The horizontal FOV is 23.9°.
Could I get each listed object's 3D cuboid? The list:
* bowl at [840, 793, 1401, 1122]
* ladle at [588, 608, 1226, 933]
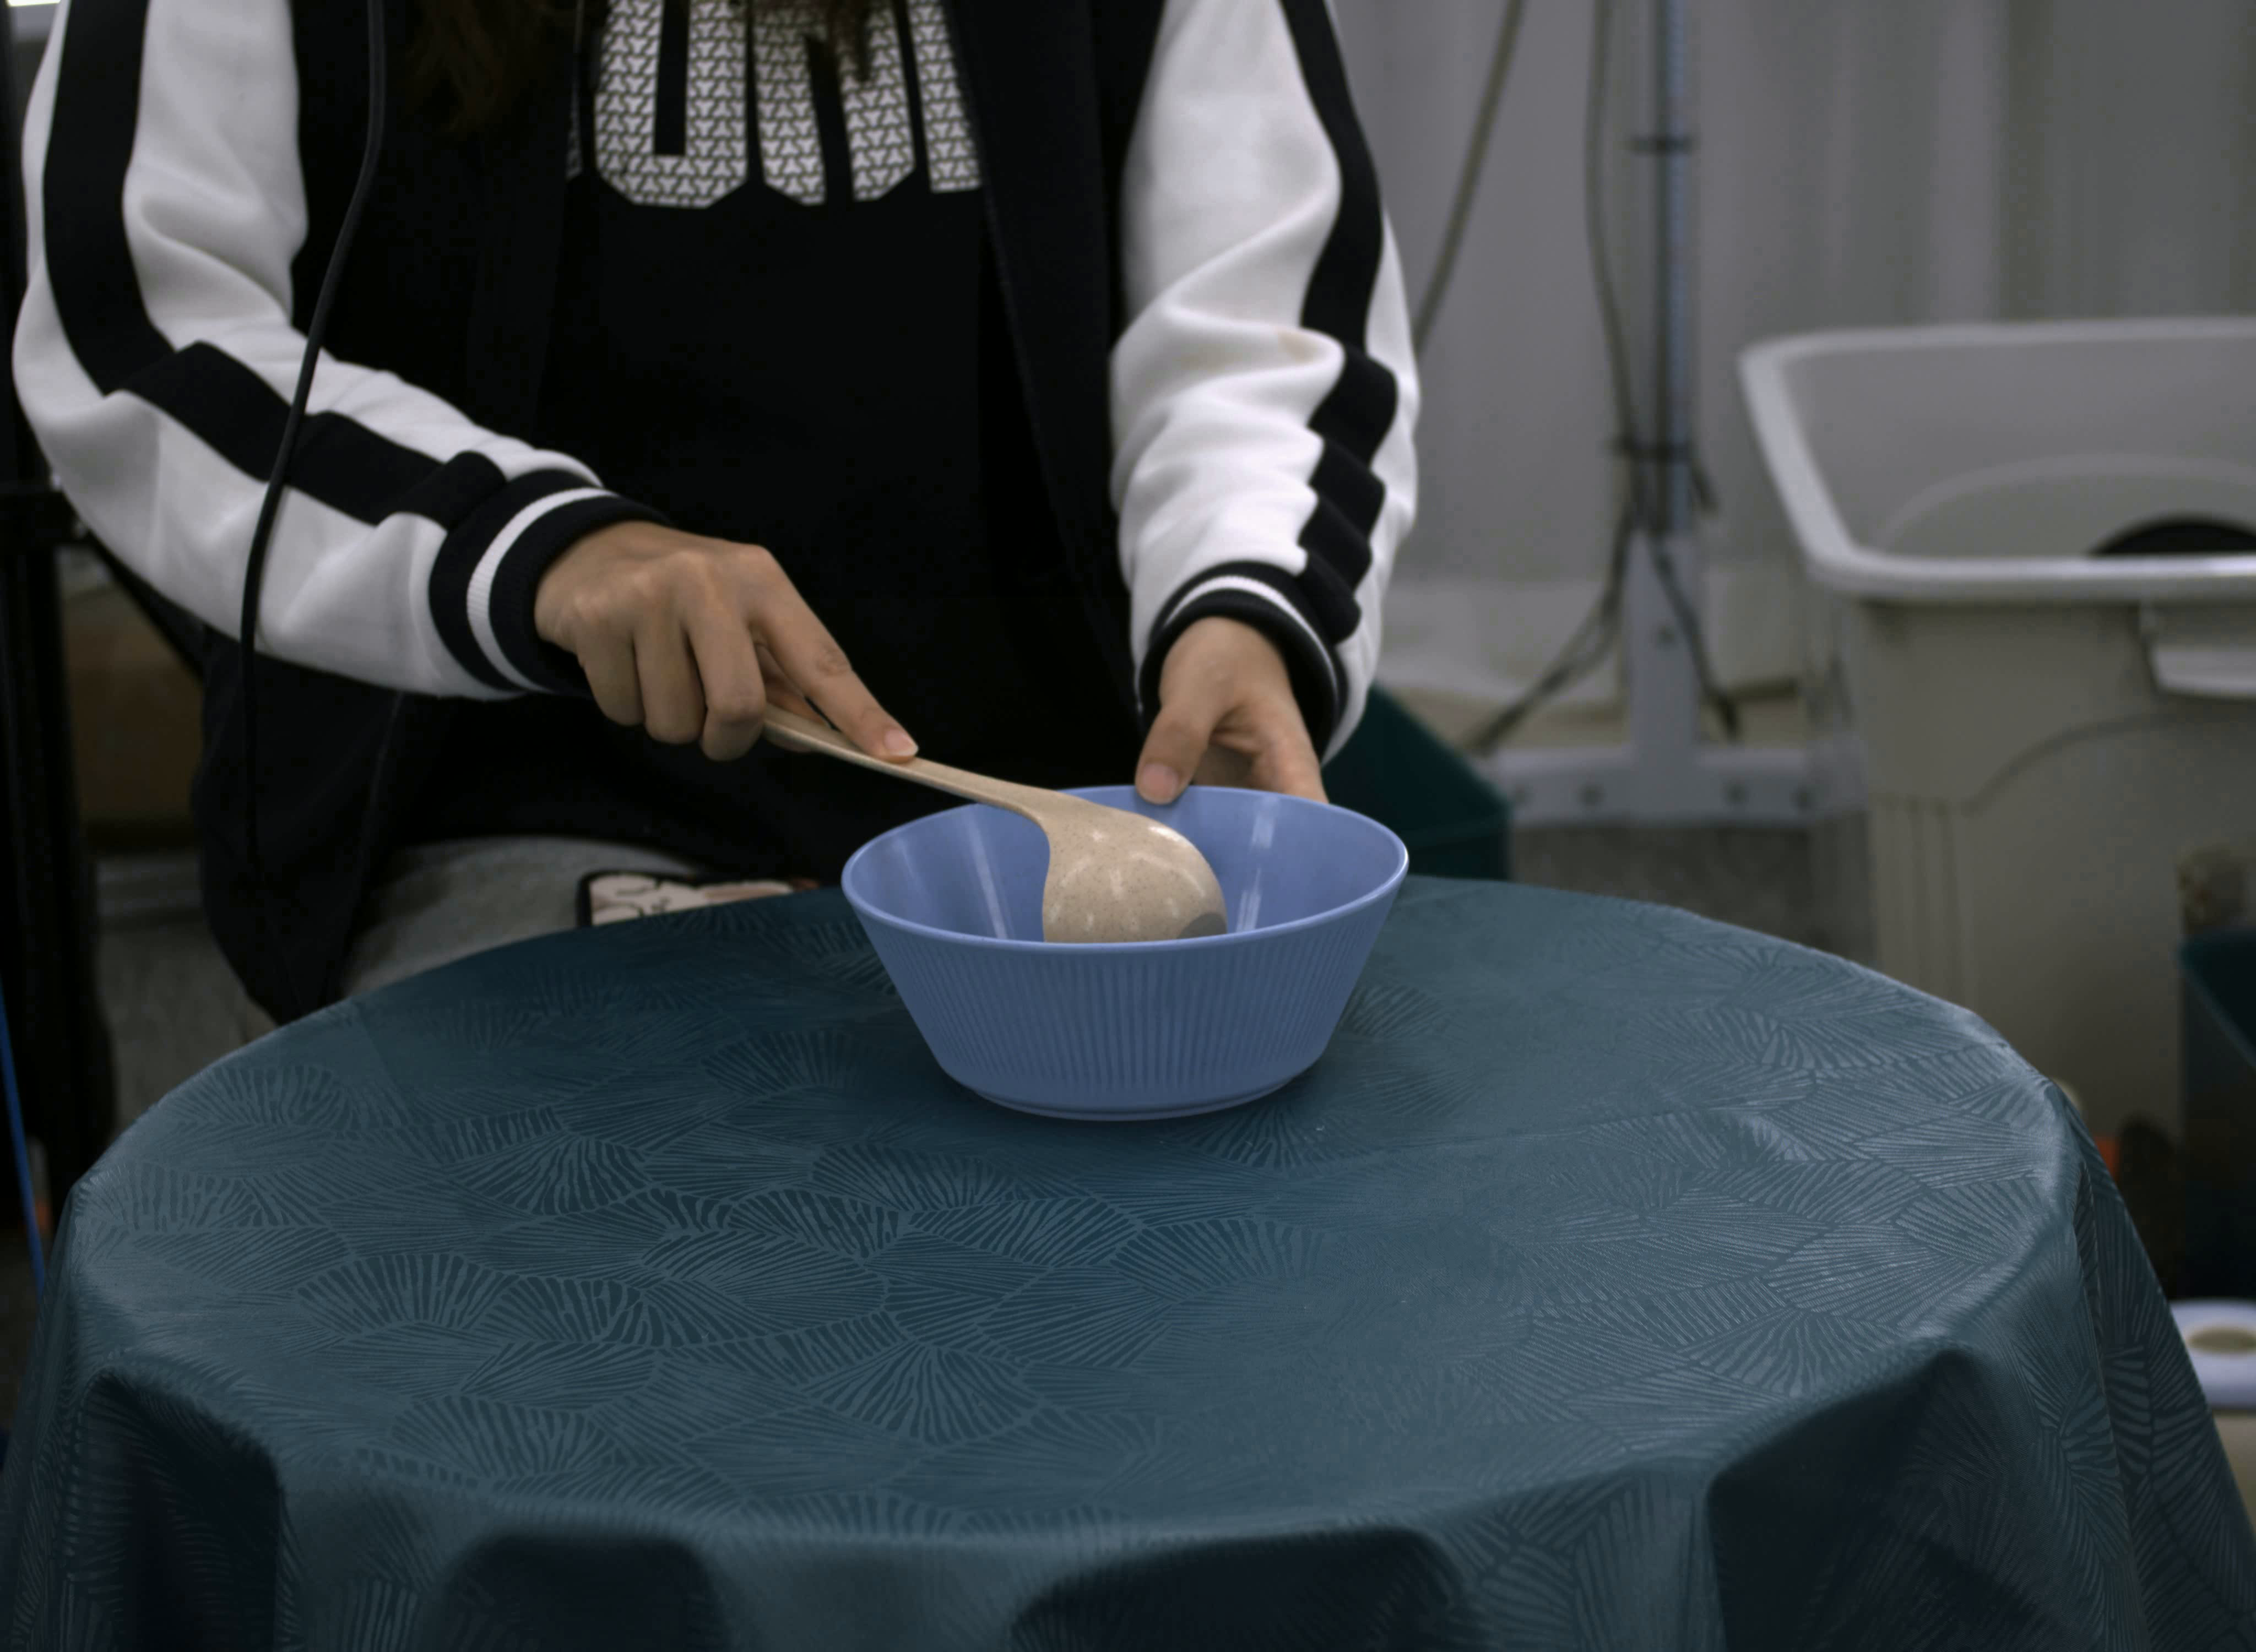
[{"bbox_3d":[-0.002,0.044,1.661,0.175,0.070,0.177,-2,16,-1],"label":"bowl"},{"bbox_3d":[-0.080,0.002,1.711,0.260,0.073,0.070,22,28,33],"label":"ladle"}]
